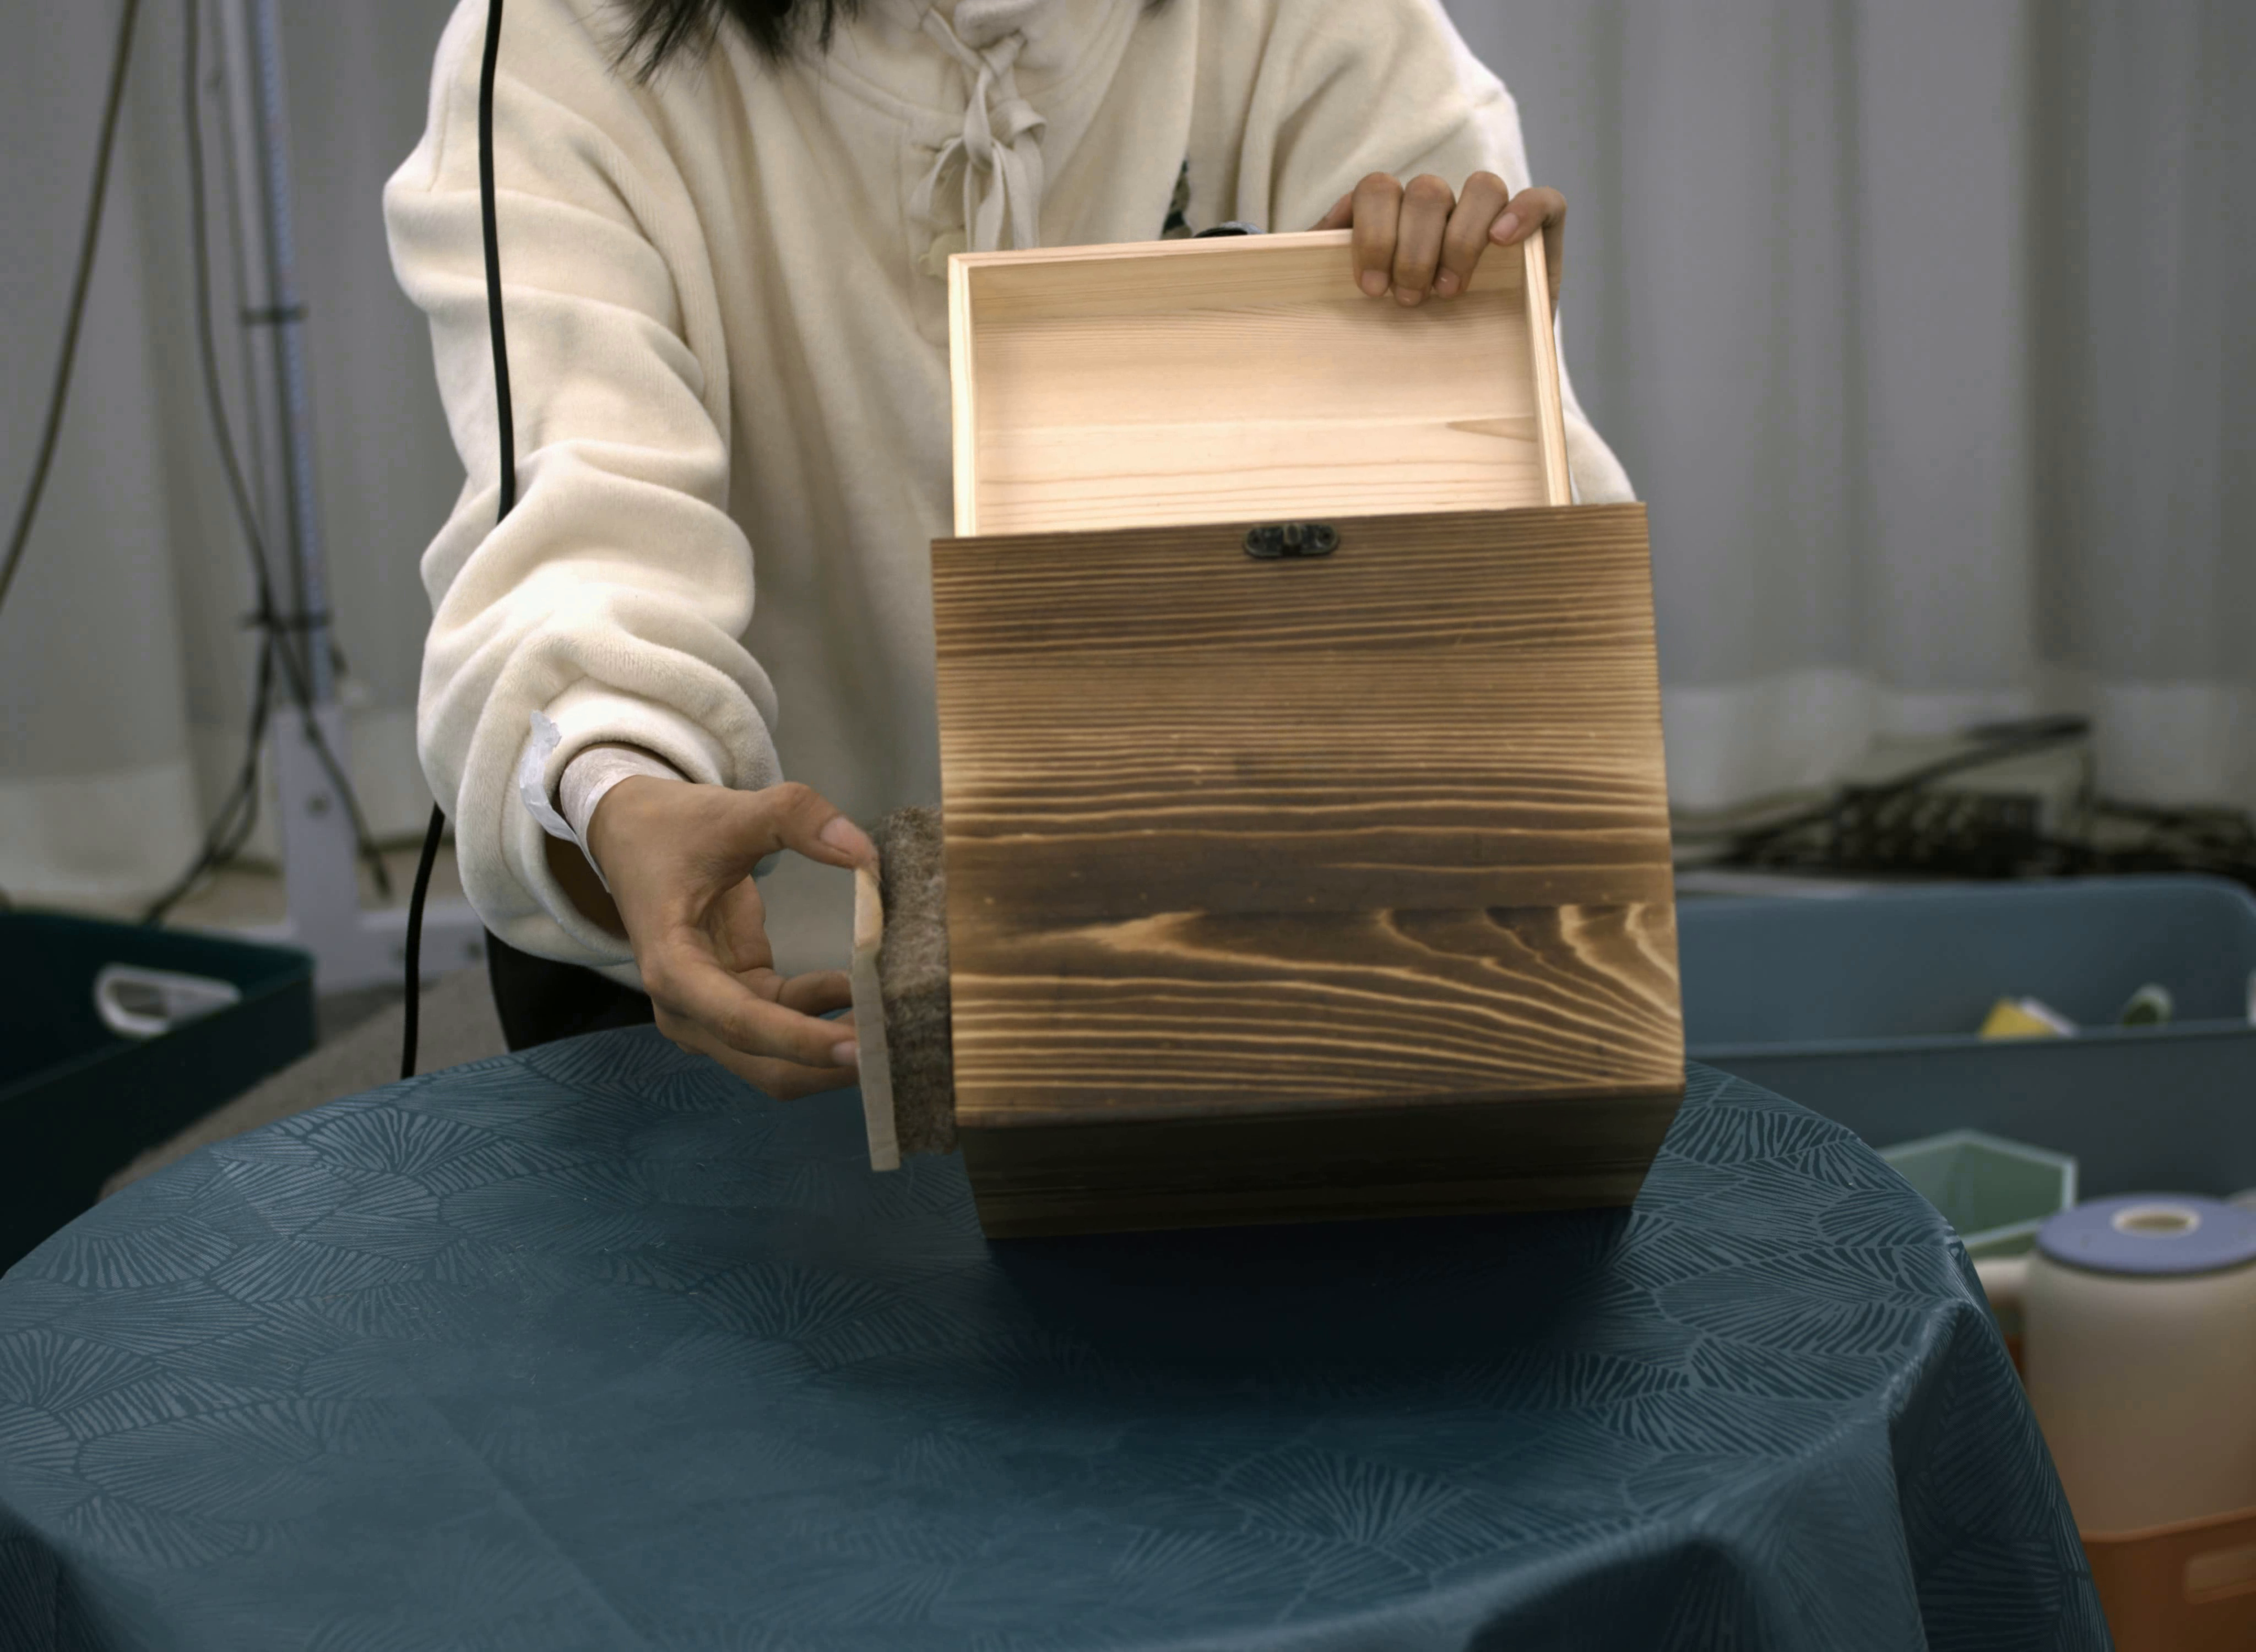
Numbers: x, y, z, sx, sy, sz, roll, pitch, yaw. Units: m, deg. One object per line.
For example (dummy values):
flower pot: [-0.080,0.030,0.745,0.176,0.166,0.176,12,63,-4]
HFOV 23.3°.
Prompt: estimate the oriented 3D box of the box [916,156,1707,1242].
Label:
box: [0.043,-0.066,1.675,0.208,0.379,0.320,-4,-14,0]

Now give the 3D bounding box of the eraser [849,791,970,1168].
eraser: [-0.062,0.042,1.588,0.029,0.056,0.141,-4,23,2]
